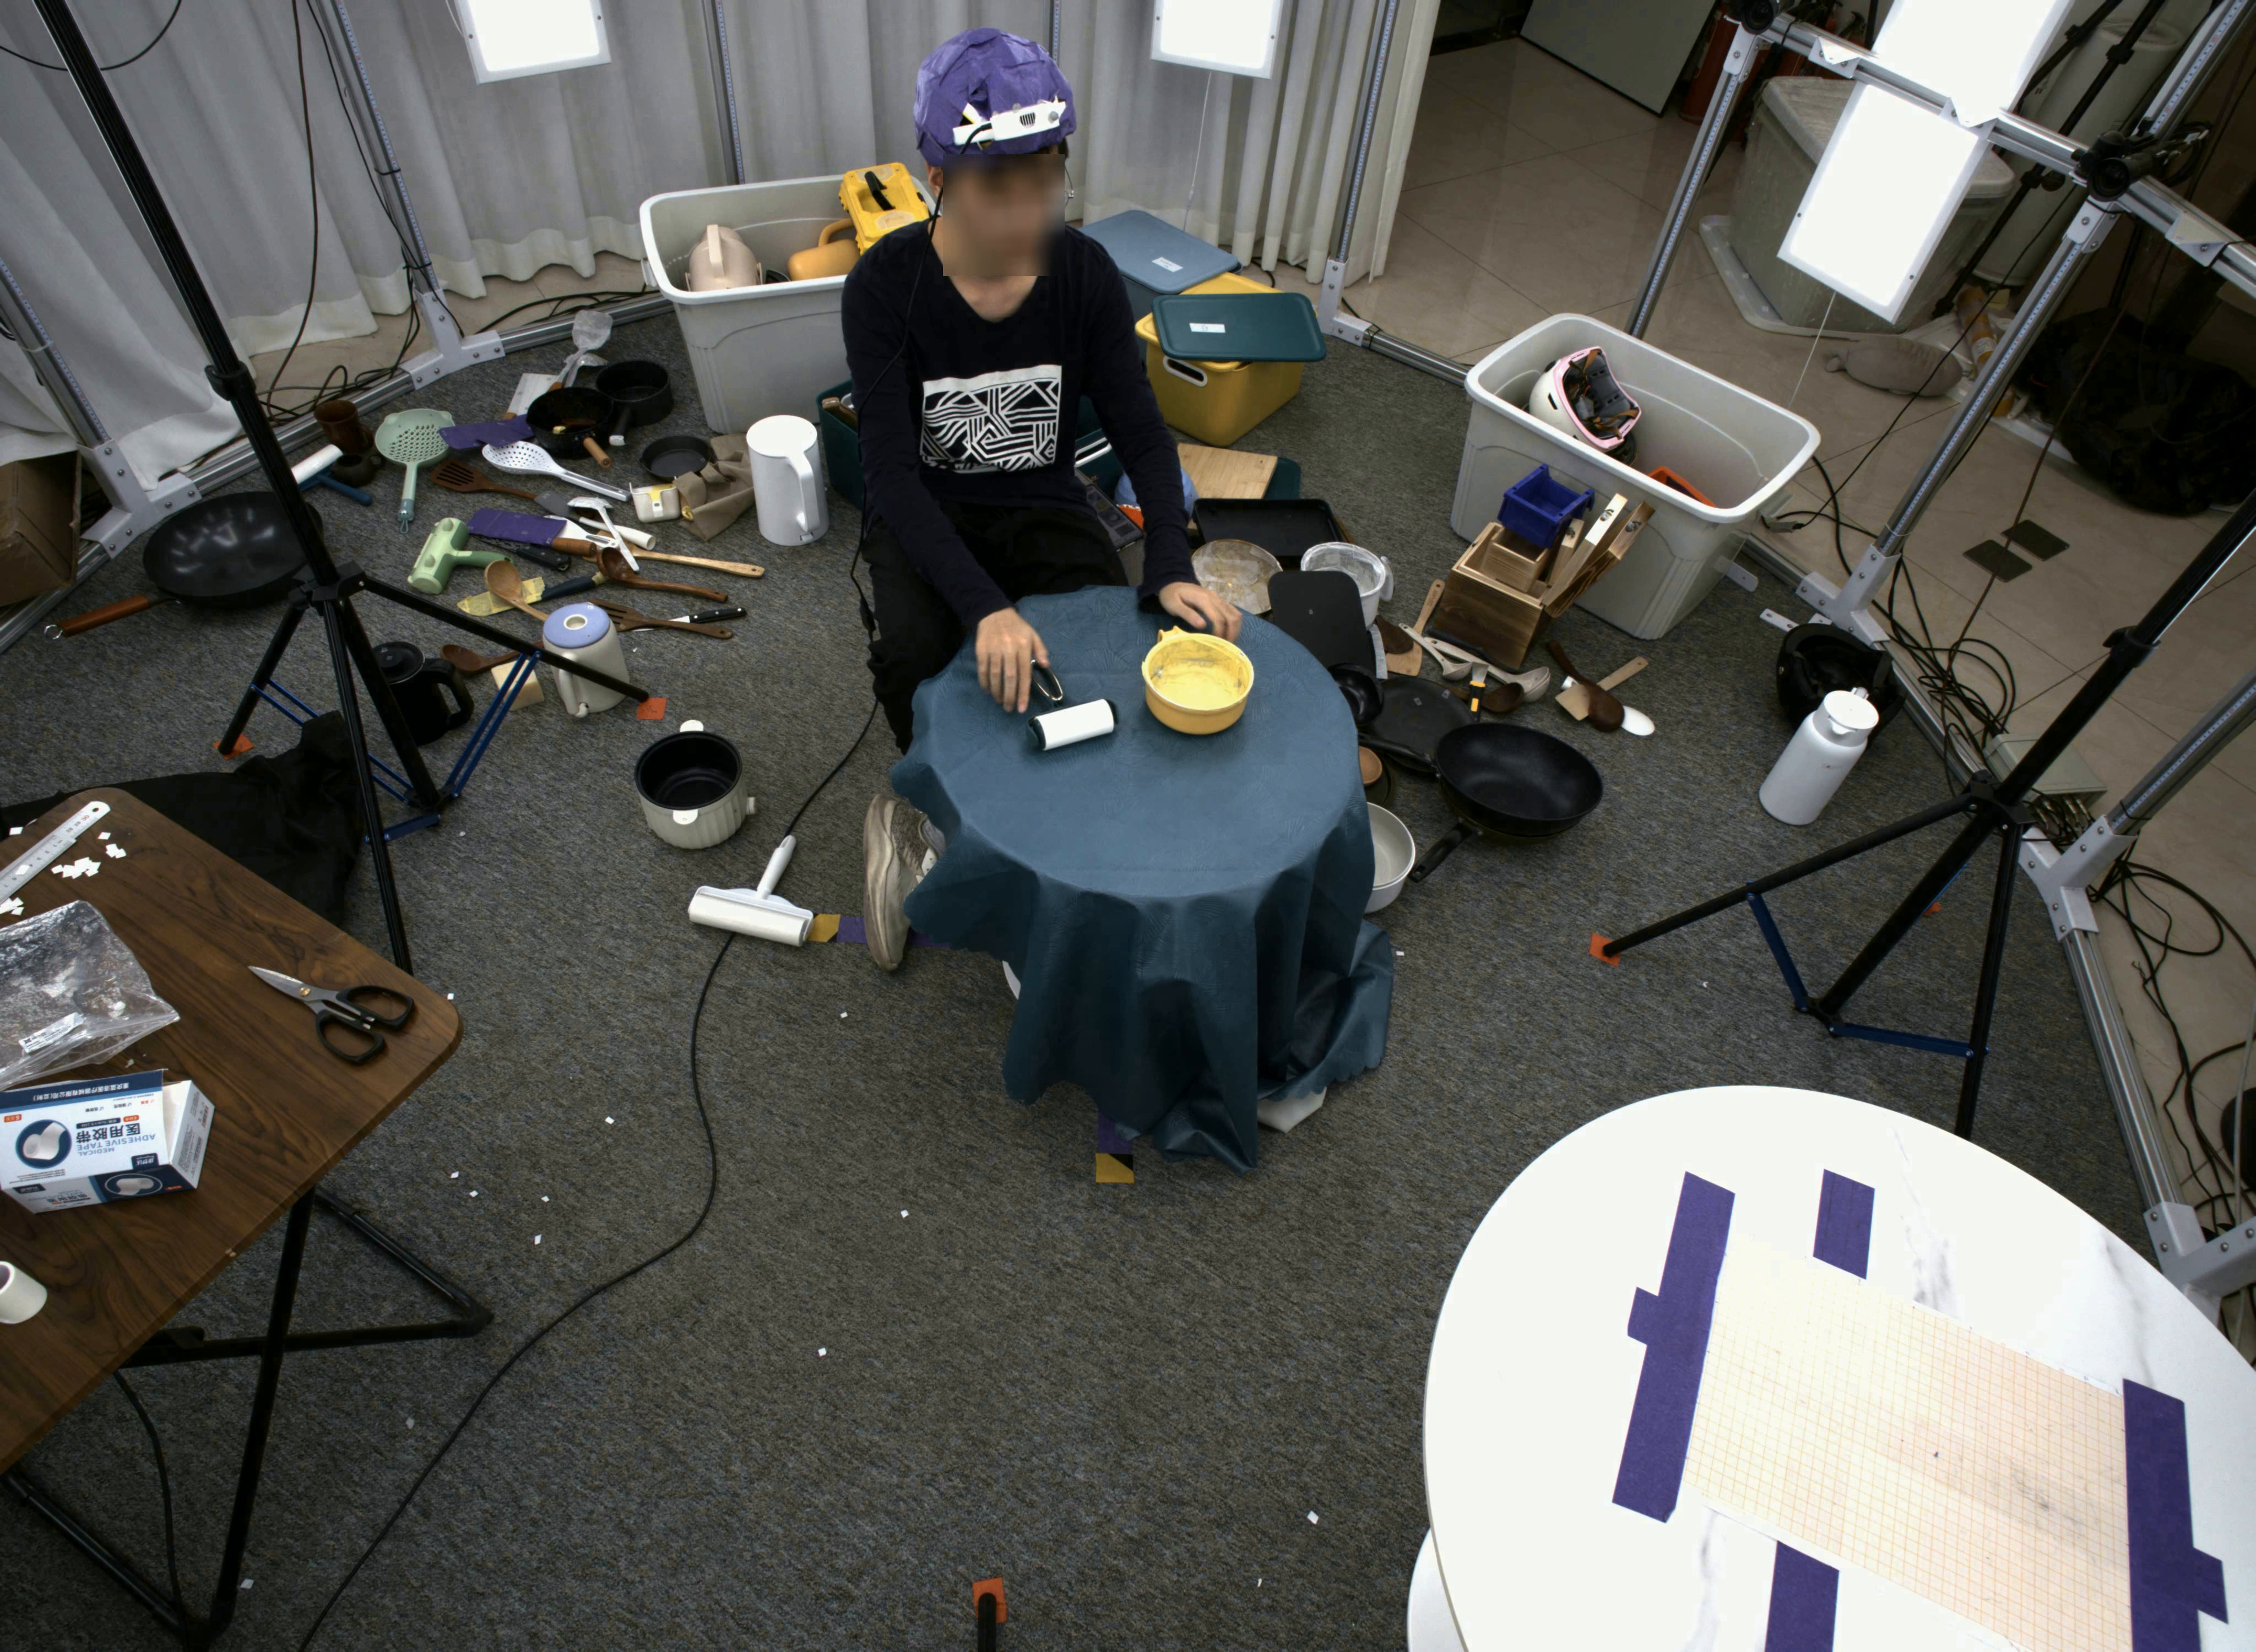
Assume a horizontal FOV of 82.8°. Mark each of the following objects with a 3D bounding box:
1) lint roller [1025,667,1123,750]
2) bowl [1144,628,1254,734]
[{"bbox_3d":[-0.102,-0.184,1.795,0.134,0.047,0.184,-17,48,-17],"label":"lint roller"},{"bbox_3d":[0.092,-0.205,1.809,0.153,0.072,0.183,-23,54,-19],"label":"bowl"}]
